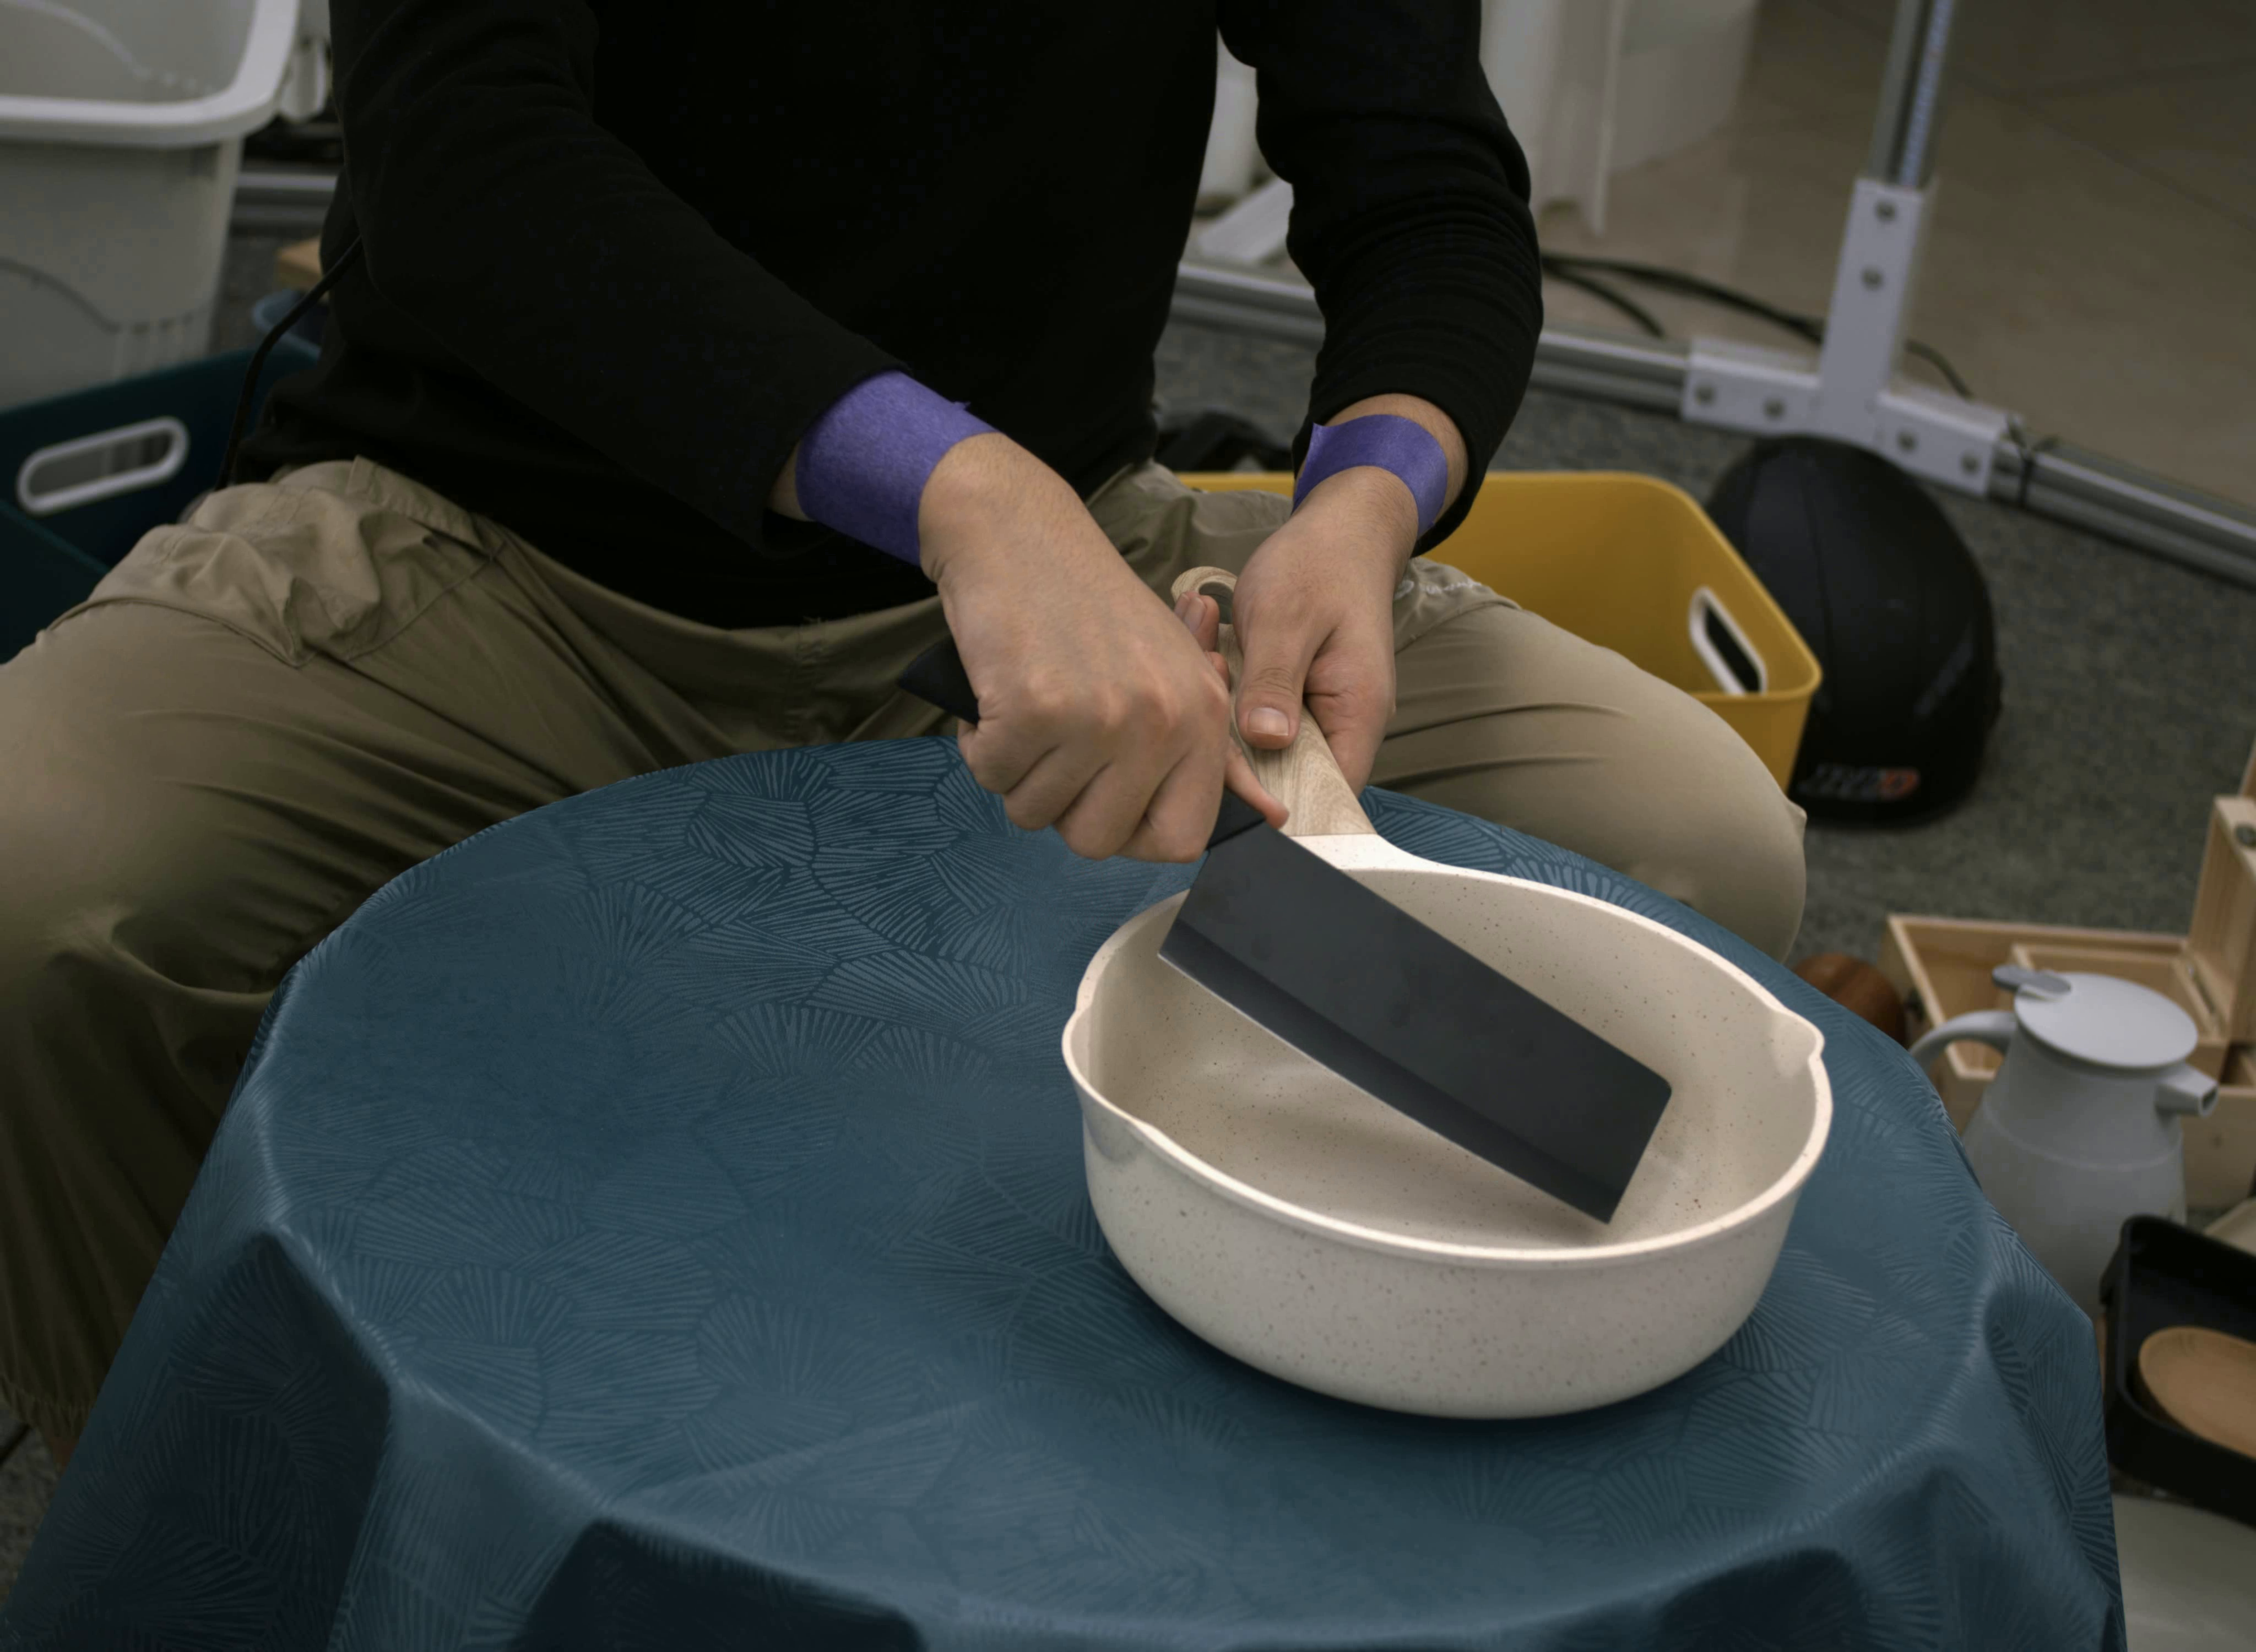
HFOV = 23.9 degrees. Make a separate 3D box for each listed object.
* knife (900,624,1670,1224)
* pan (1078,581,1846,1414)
[{"bbox_3d":[0.051,0.030,1.788,0.302,0.021,0.081,37,60,-3],"label":"knife"},{"bbox_3d":[0.082,0.056,1.842,0.262,0.101,0.439,-4,29,-16],"label":"pan"}]
